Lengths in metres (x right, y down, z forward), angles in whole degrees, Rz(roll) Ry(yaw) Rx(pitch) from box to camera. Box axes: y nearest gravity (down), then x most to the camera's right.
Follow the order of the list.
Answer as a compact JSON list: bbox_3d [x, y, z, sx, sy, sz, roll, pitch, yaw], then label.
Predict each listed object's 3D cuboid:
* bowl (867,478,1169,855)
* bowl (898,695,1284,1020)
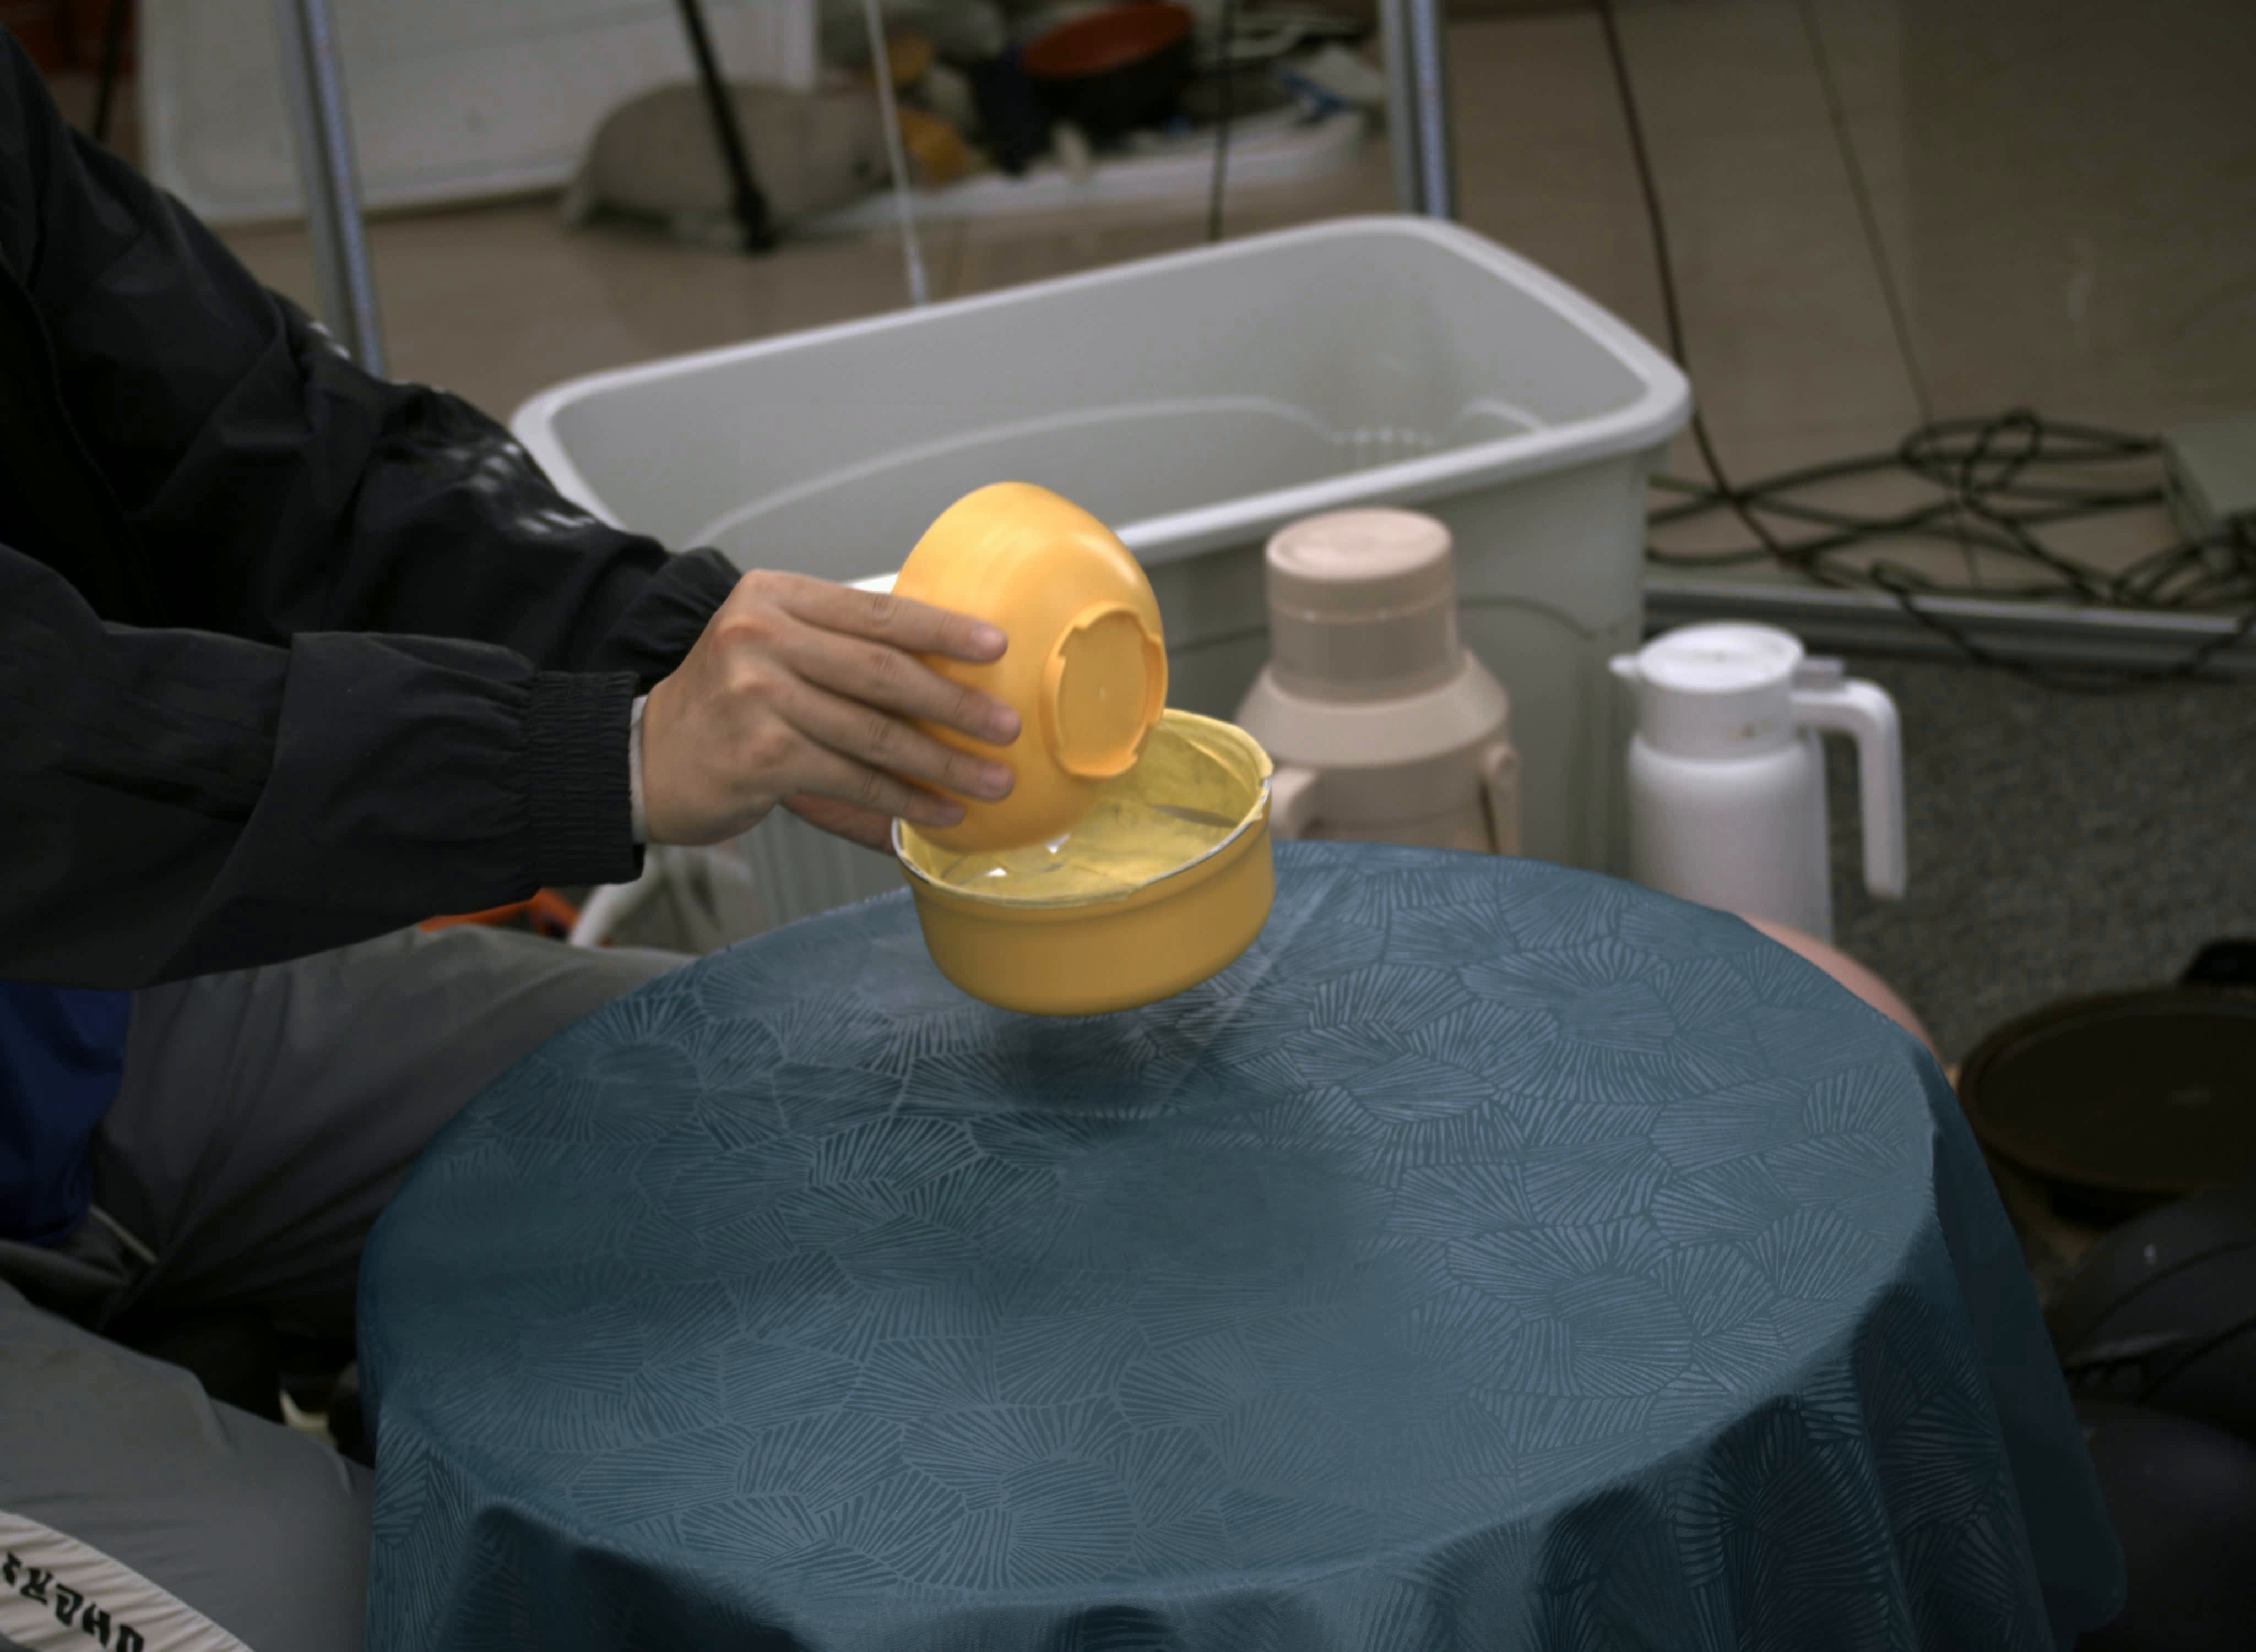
[{"bbox_3d":[-0.028,-0.057,2.125,0.060,0.147,0.144,11,30,39],"label":"bowl"},{"bbox_3d":[-0.008,0.012,2.257,0.153,0.075,0.176,-5,31,12],"label":"bowl"}]
